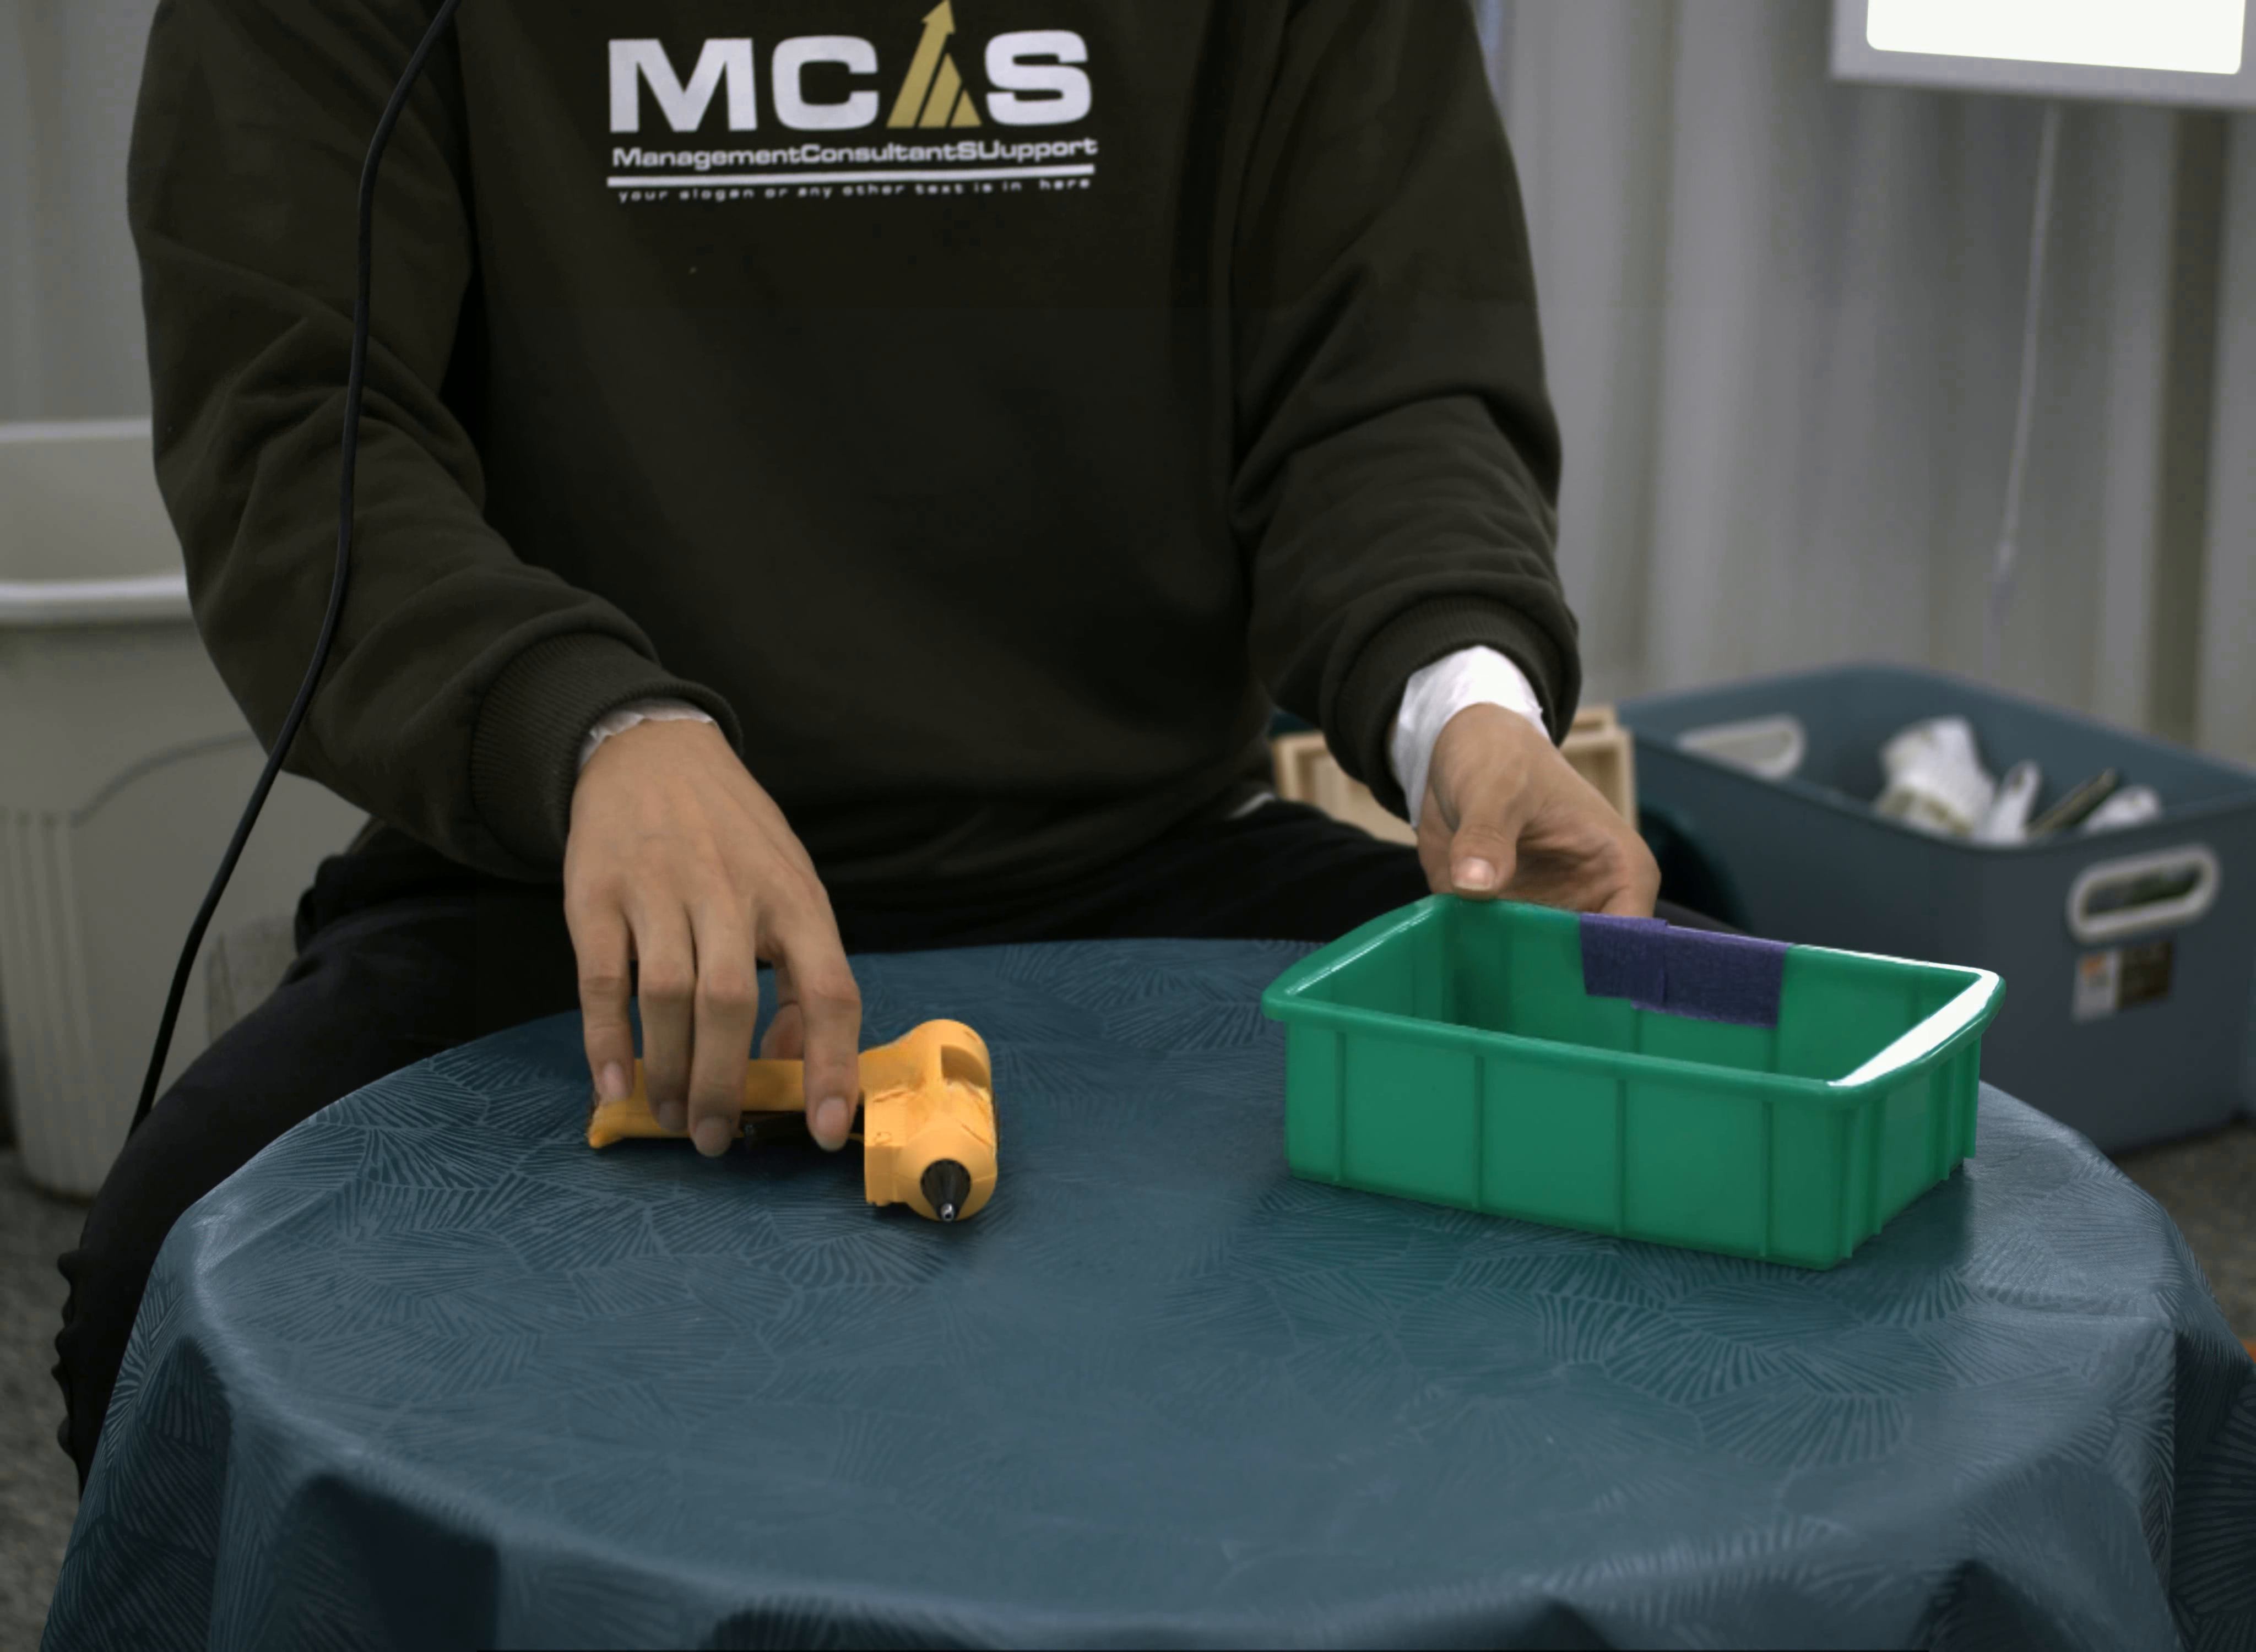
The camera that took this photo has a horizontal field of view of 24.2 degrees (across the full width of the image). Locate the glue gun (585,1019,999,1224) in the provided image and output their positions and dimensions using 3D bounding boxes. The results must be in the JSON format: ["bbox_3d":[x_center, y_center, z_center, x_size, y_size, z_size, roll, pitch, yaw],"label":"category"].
[{"bbox_3d":[-0.100,0.099,1.628,0.133,0.031,0.150,-3,16,-7],"label":"glue gun"}]

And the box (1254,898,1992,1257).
[{"bbox_3d":[0.154,0.077,1.643,0.208,0.066,0.139,6,15,26],"label":"box"}]
